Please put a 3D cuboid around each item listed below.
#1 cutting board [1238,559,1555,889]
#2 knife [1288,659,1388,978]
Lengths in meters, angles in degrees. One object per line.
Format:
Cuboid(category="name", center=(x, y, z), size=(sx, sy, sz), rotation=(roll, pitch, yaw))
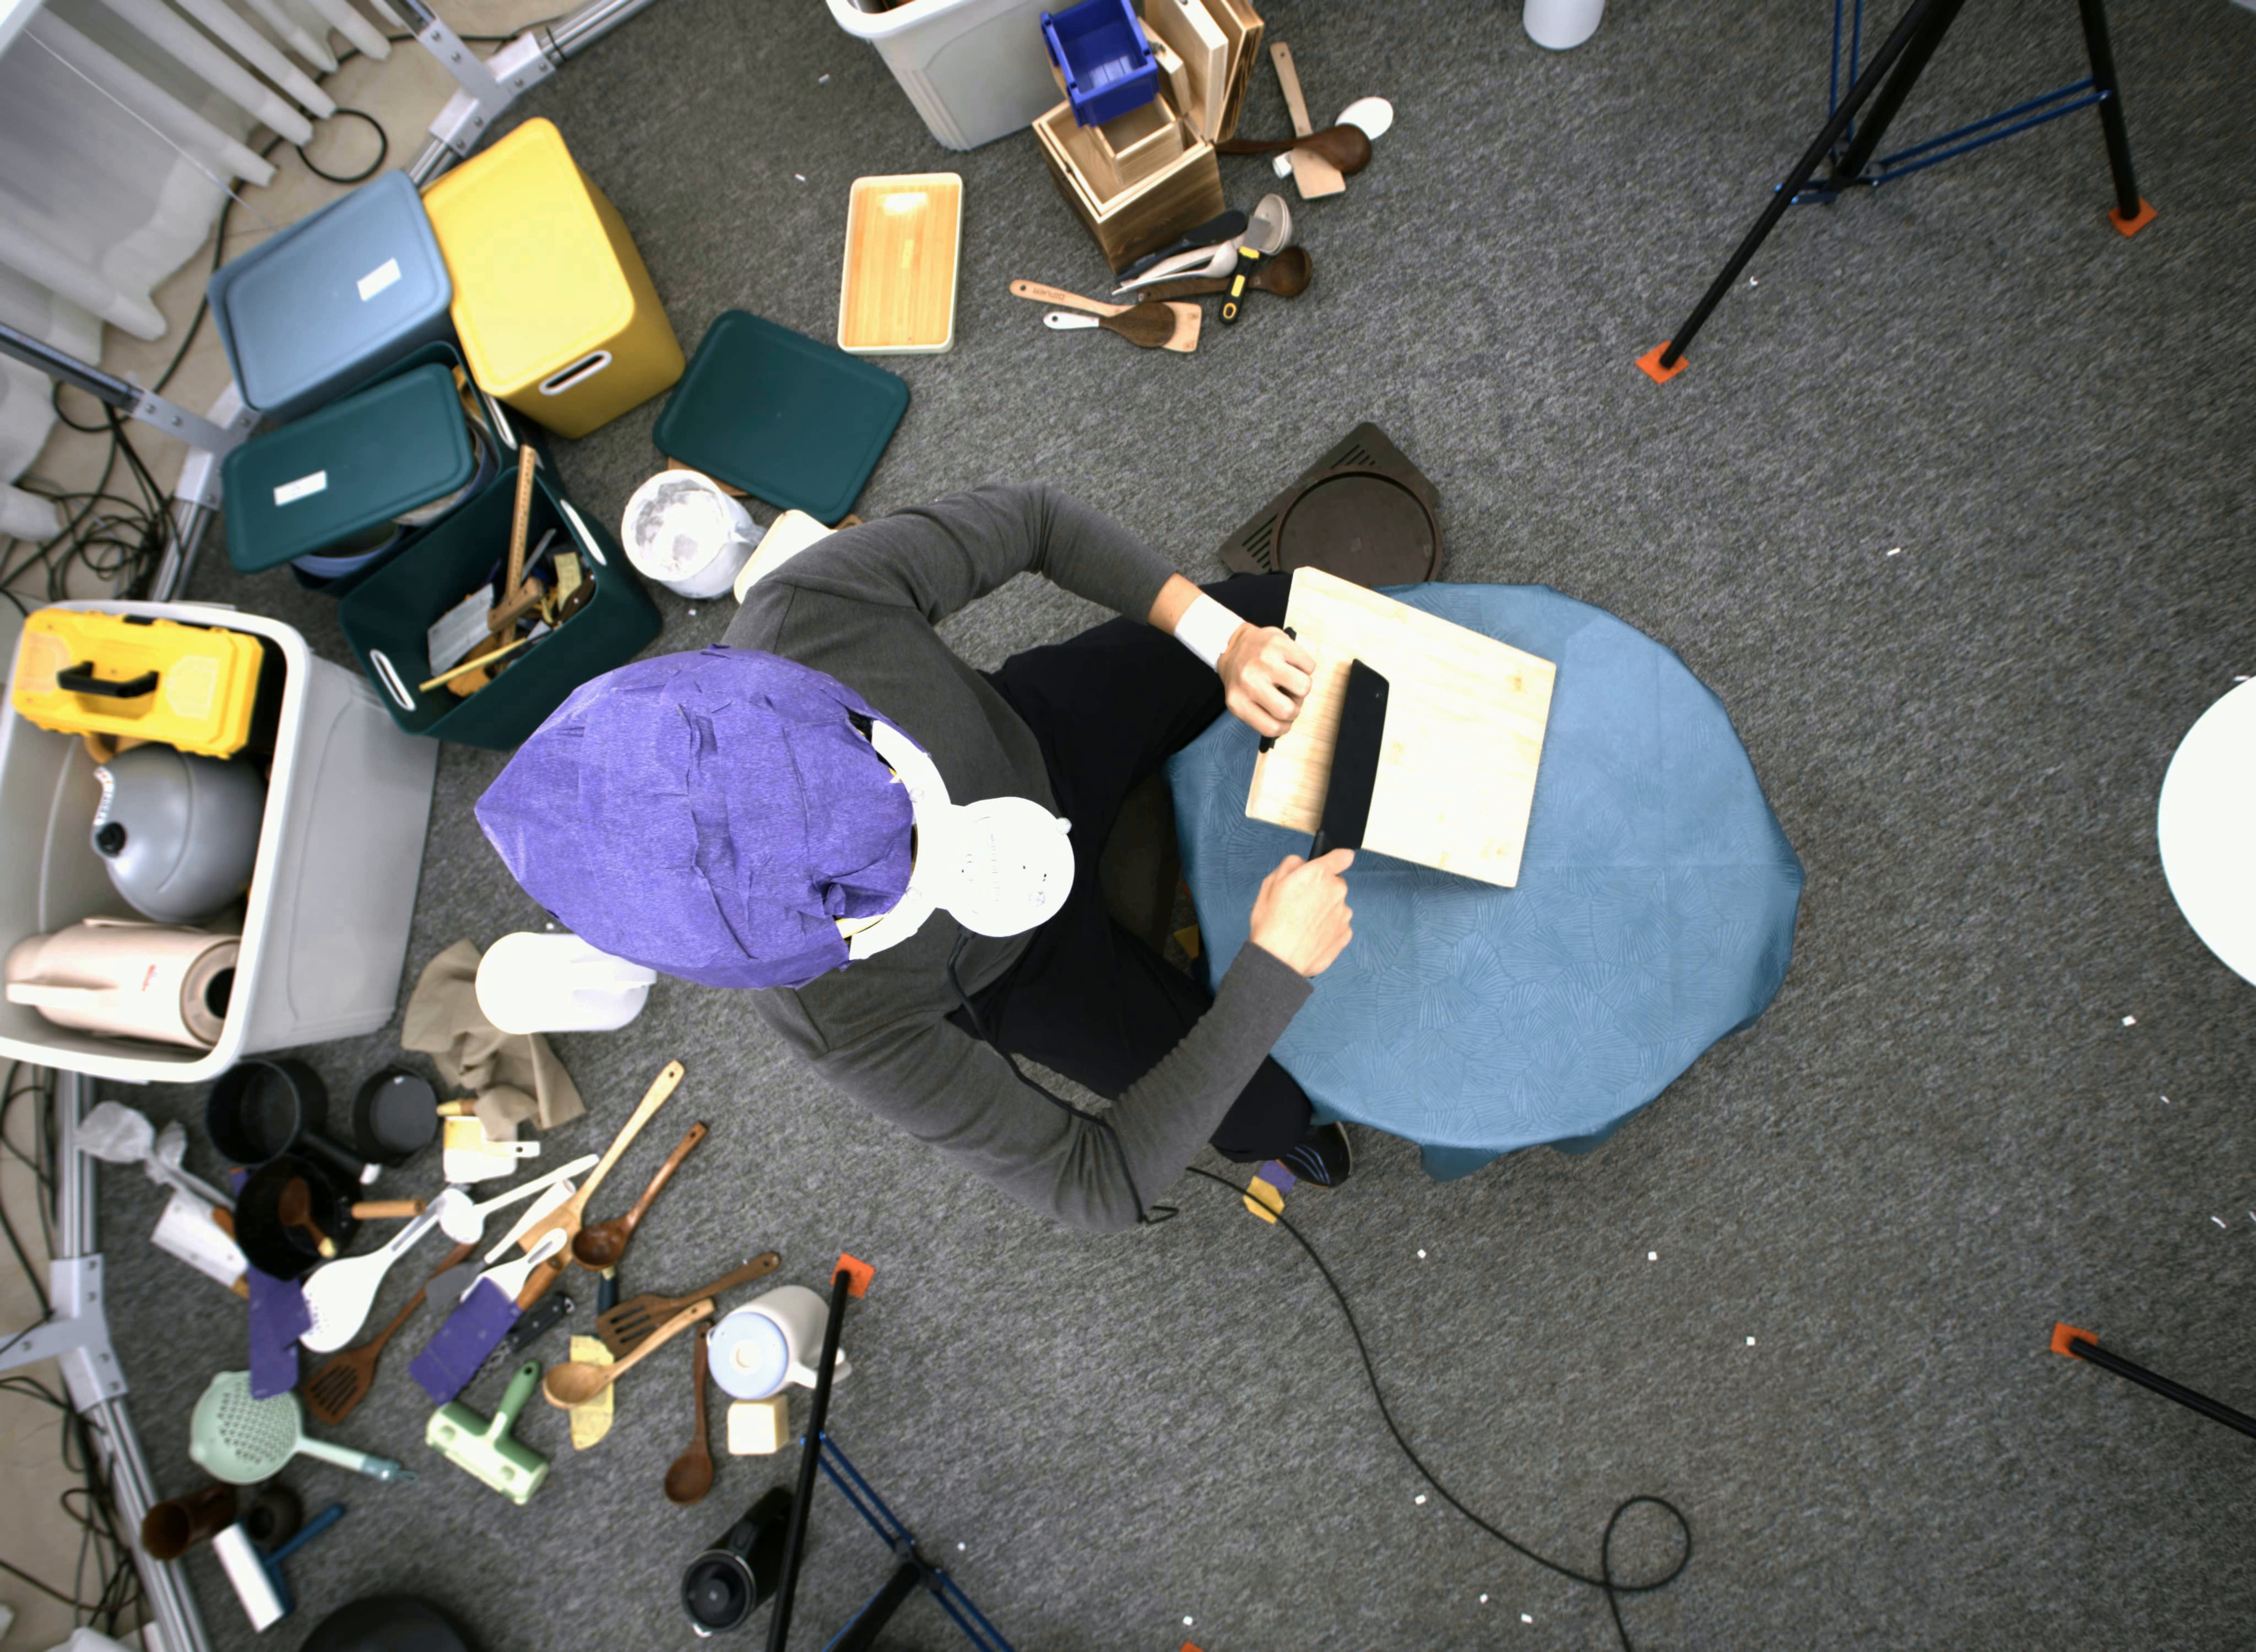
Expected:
Cuboid(category="cutting board", center=(0.272, -0.092, 1.347), size=(0.348, 0.023, 0.250), rotation=(12, 88, -30))
Cuboid(category="knife", center=(0.195, -0.008, 1.273), size=(0.021, 0.081, 0.298), rotation=(3, 72, 47))
